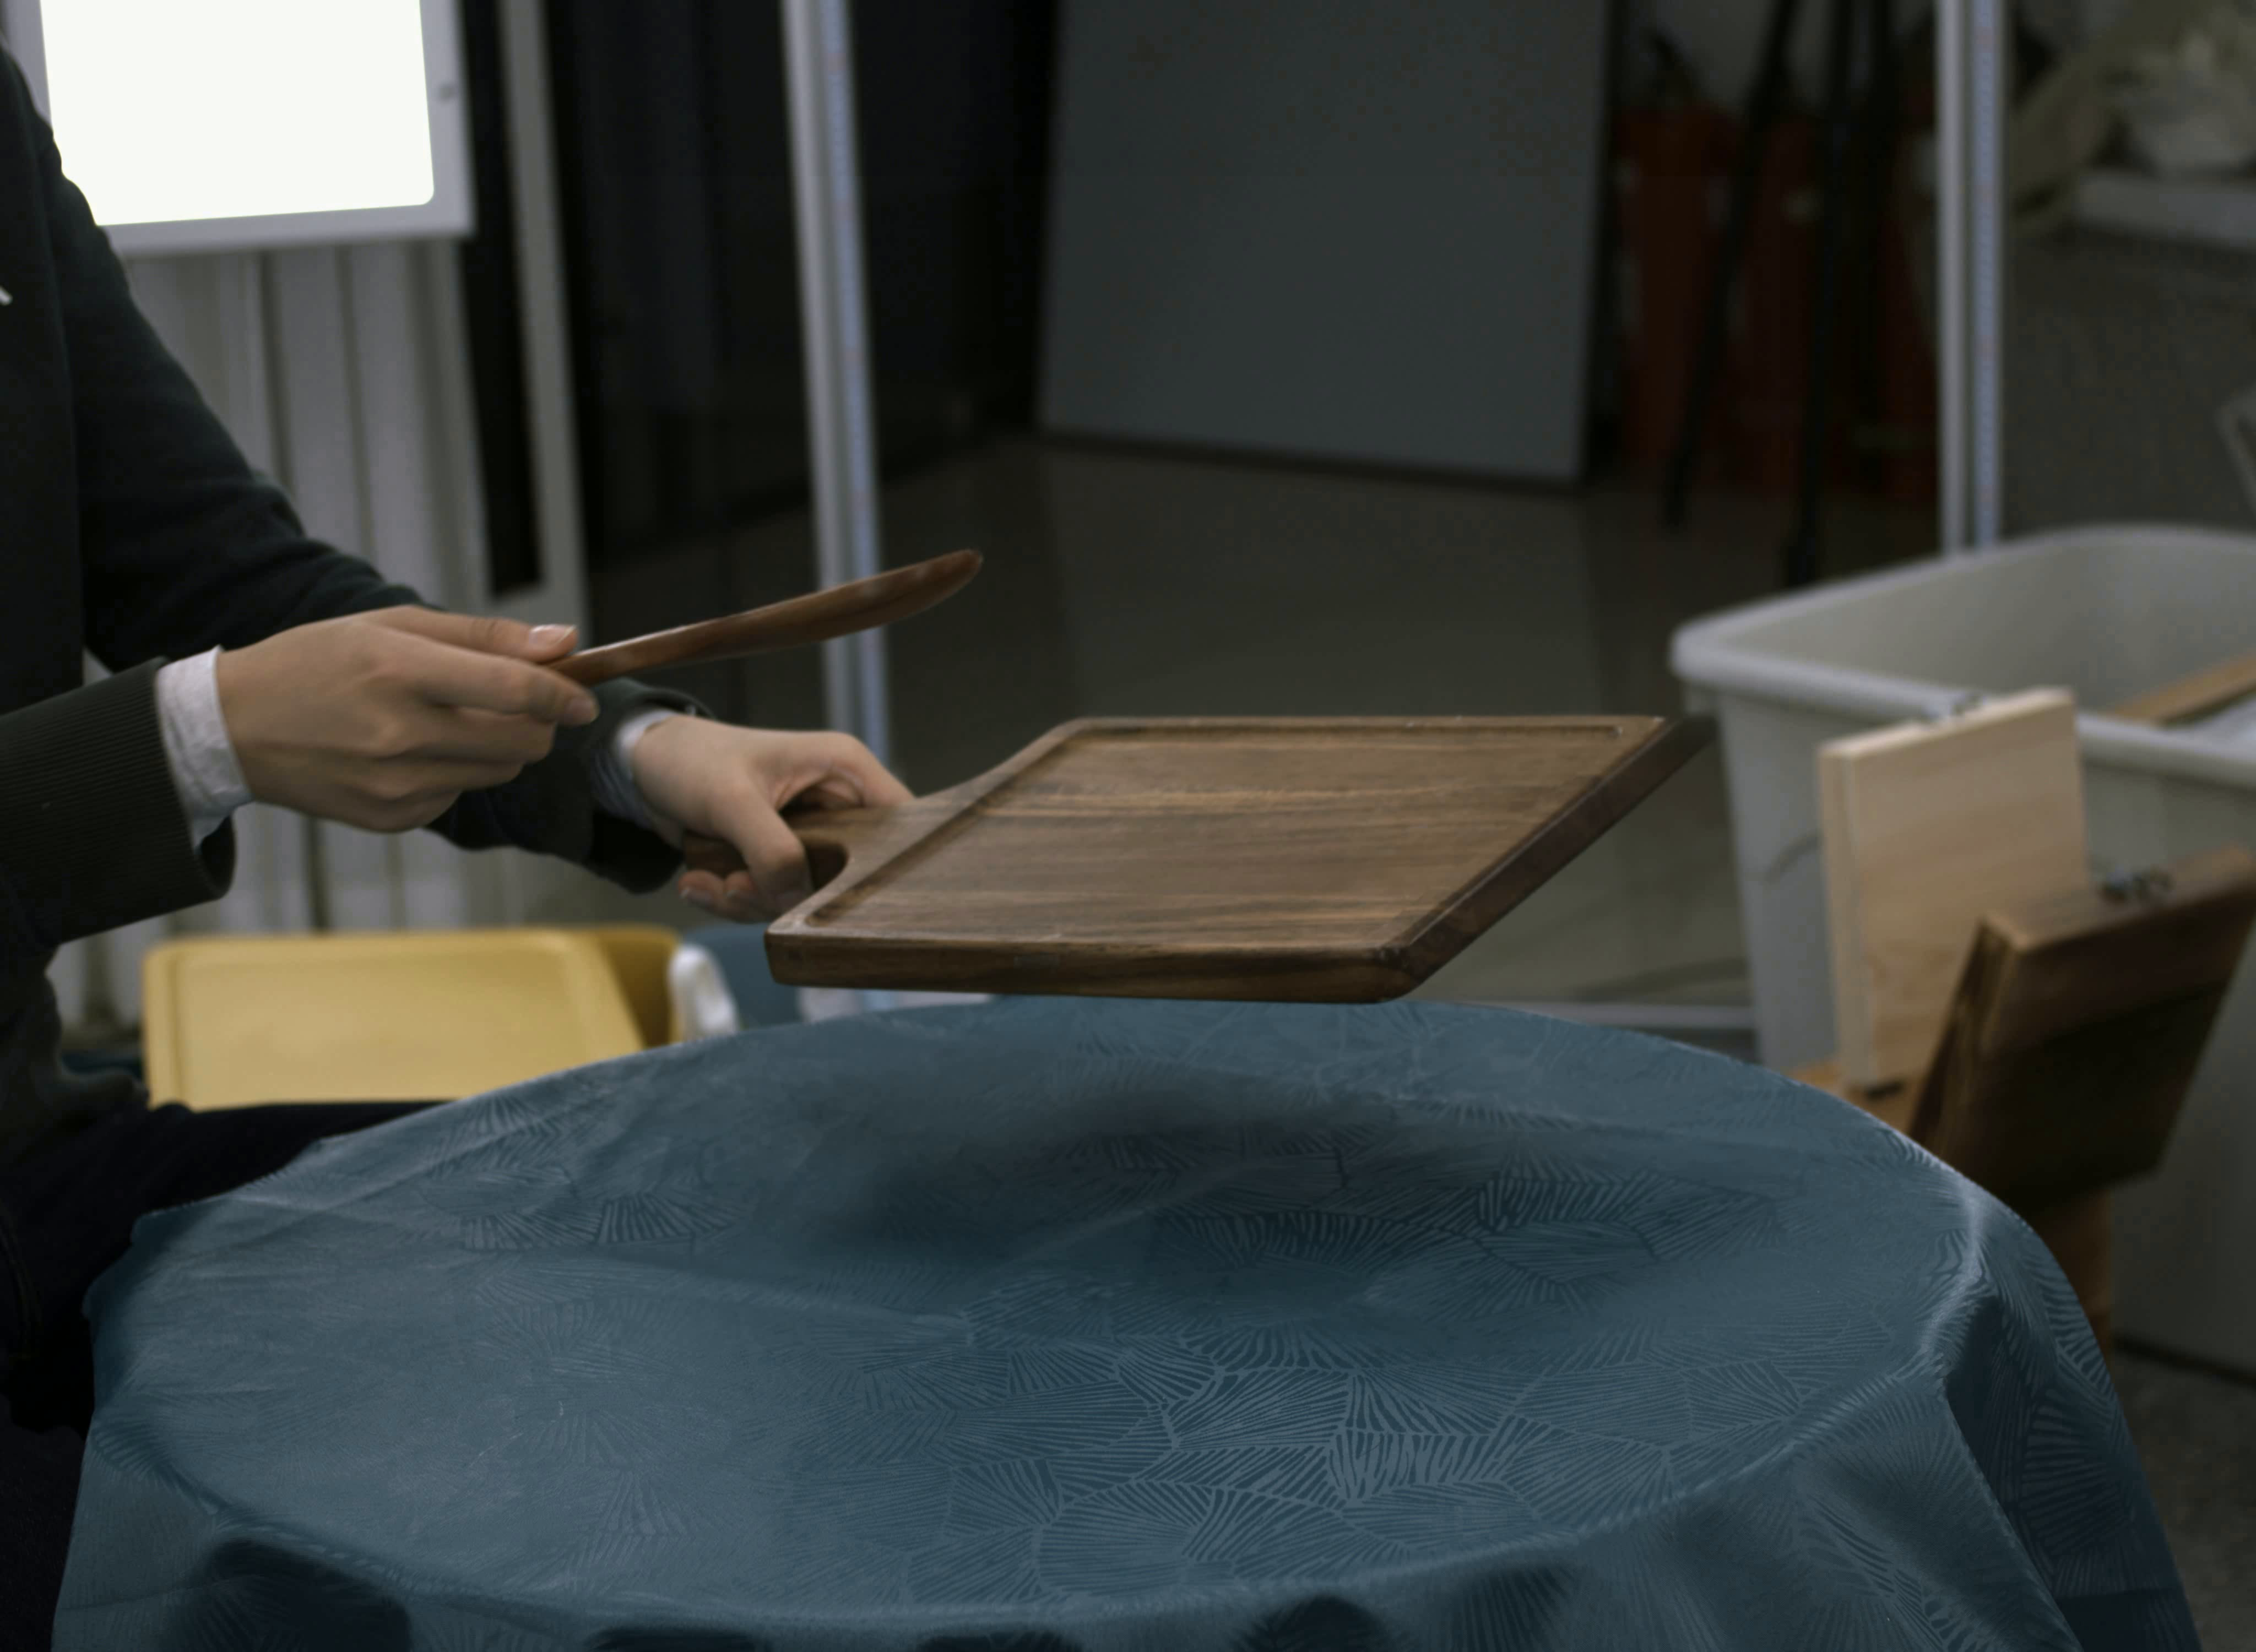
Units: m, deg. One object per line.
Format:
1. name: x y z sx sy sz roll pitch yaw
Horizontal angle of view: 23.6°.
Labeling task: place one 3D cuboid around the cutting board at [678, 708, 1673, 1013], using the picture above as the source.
1. cutting board: -0.009 0.010 1.802 0.354 0.023 0.198 -1 24 36

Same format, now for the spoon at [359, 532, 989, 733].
1. spoon: -0.144 -0.060 1.720 0.215 0.017 0.075 -14 8 14
